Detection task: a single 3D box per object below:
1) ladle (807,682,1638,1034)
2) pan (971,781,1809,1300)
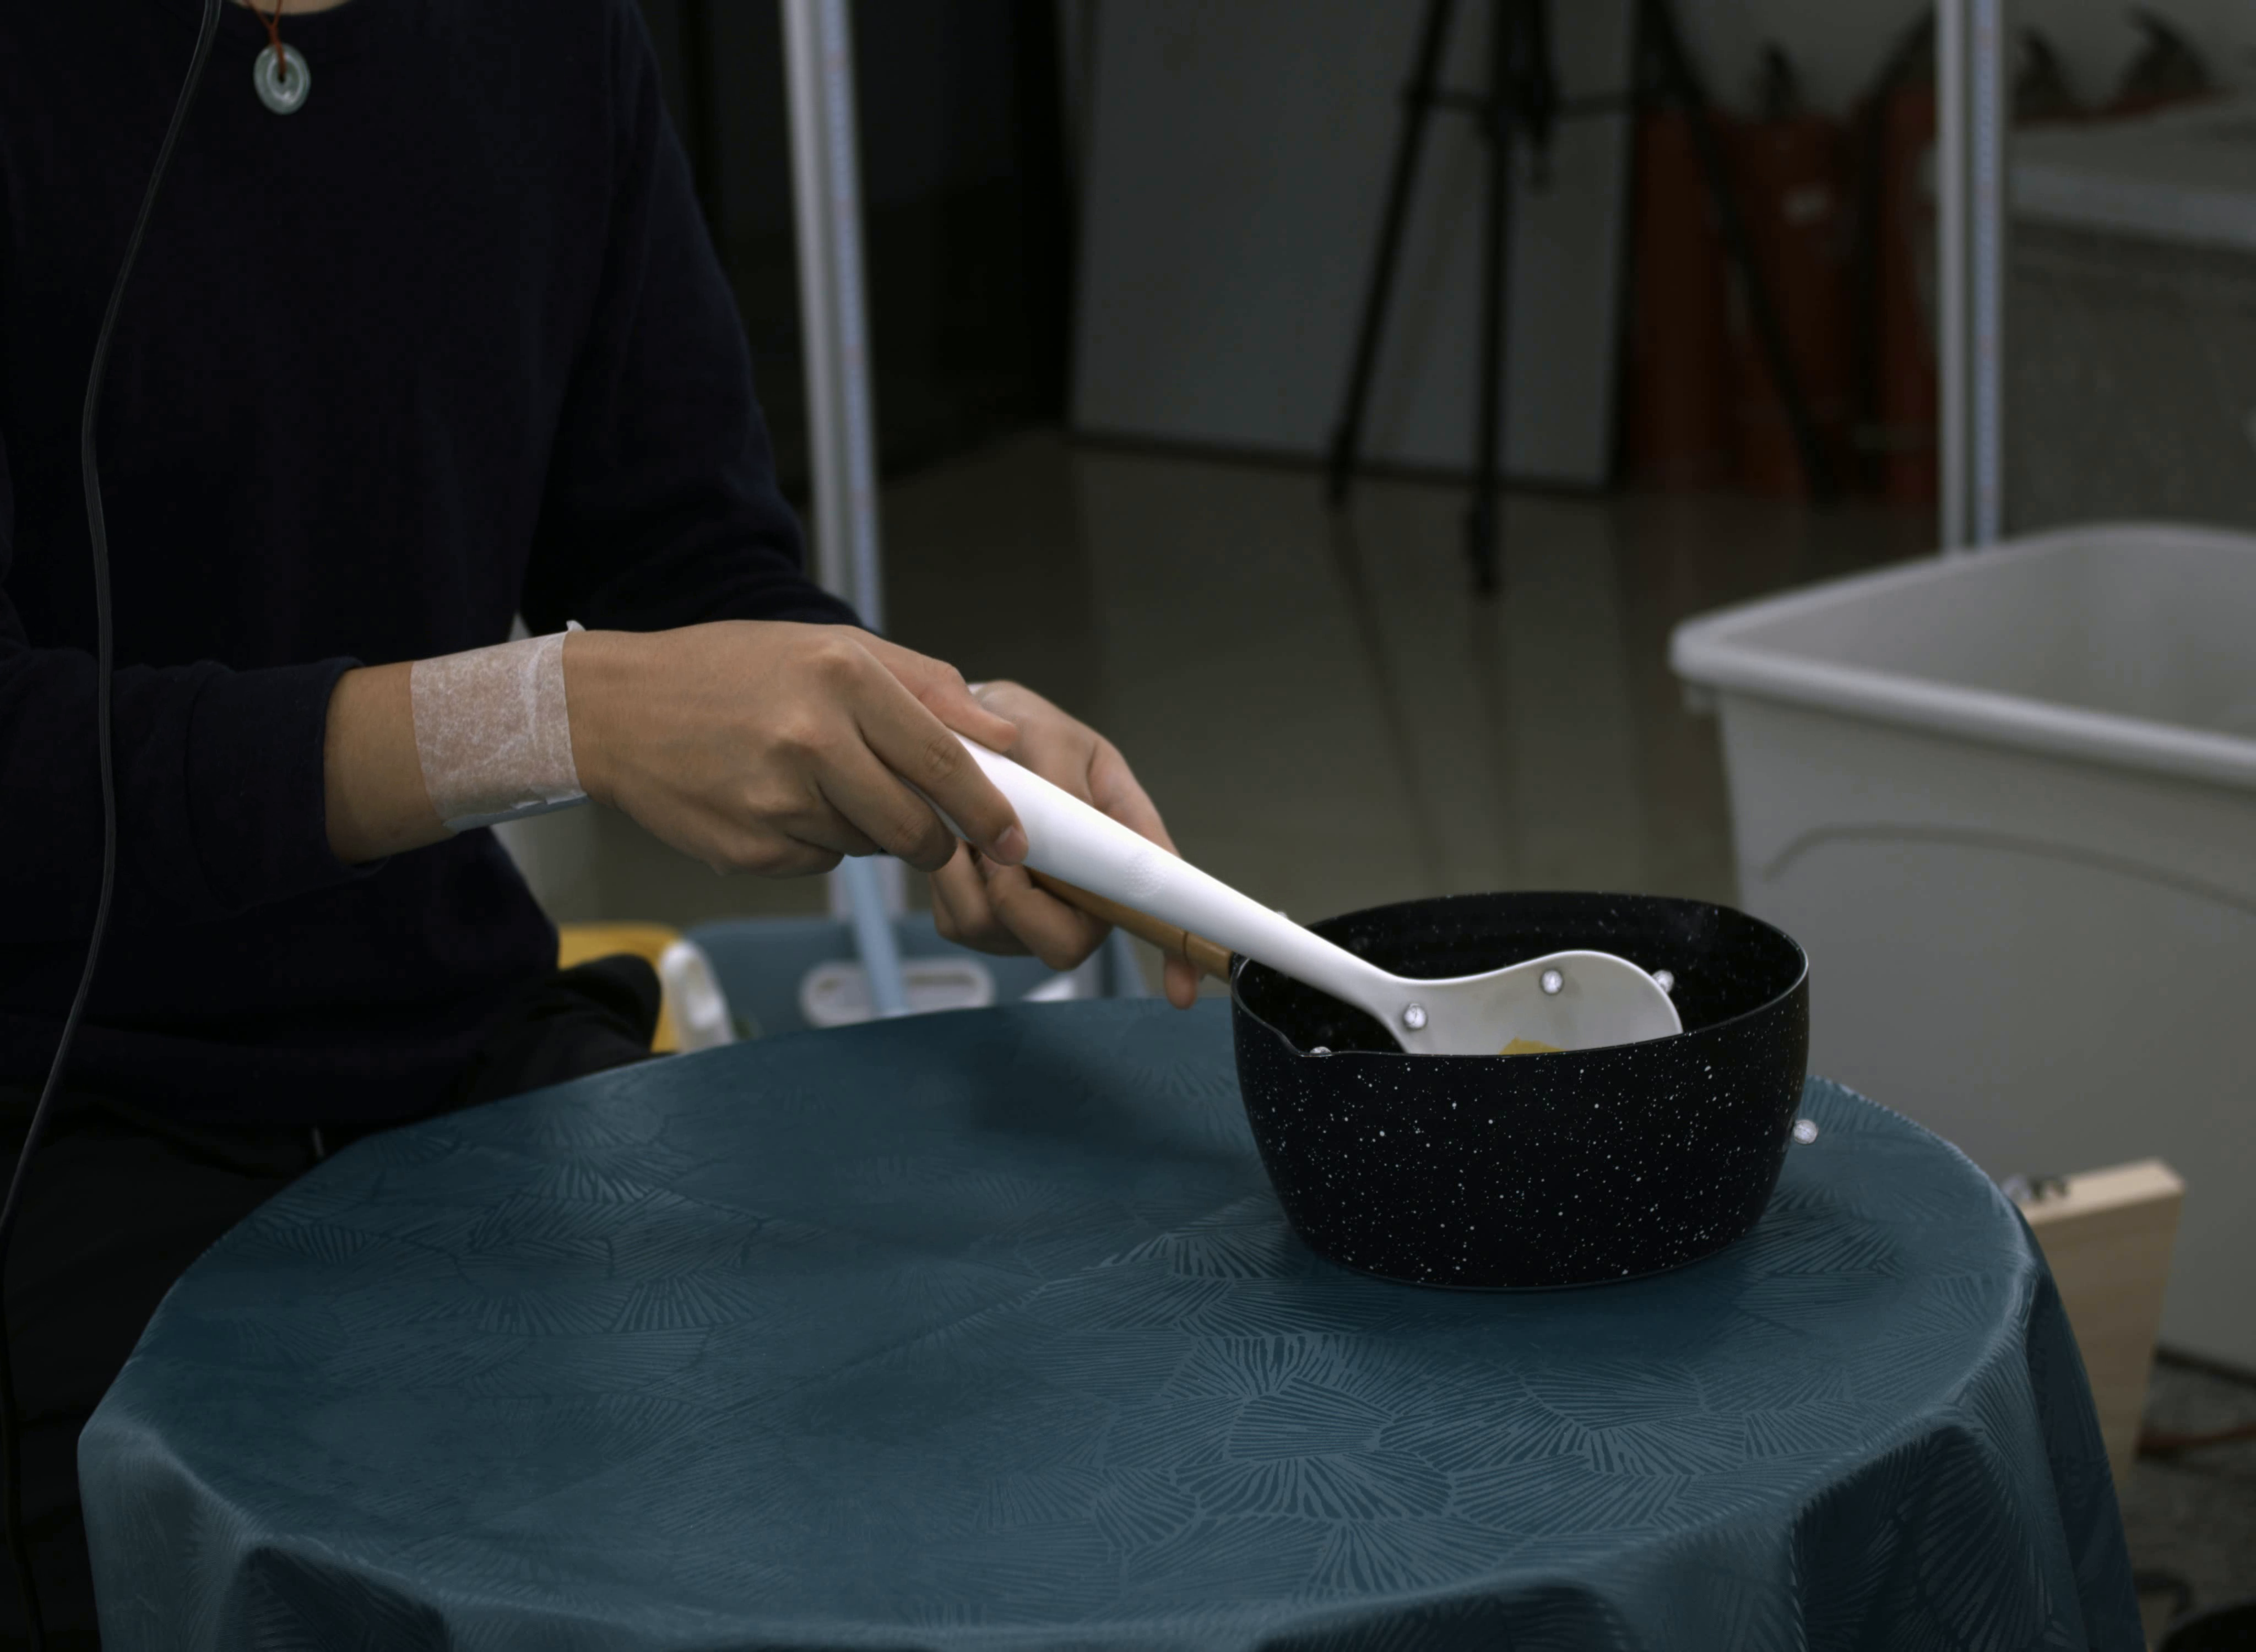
[{"bbox_3d":[0.033,0.038,1.699,0.289,0.091,0.070,28,6,-10],"label":"ladle"},{"bbox_3d":[0.069,0.063,1.759,0.203,0.109,0.346,-18,21,-42],"label":"pan"}]
